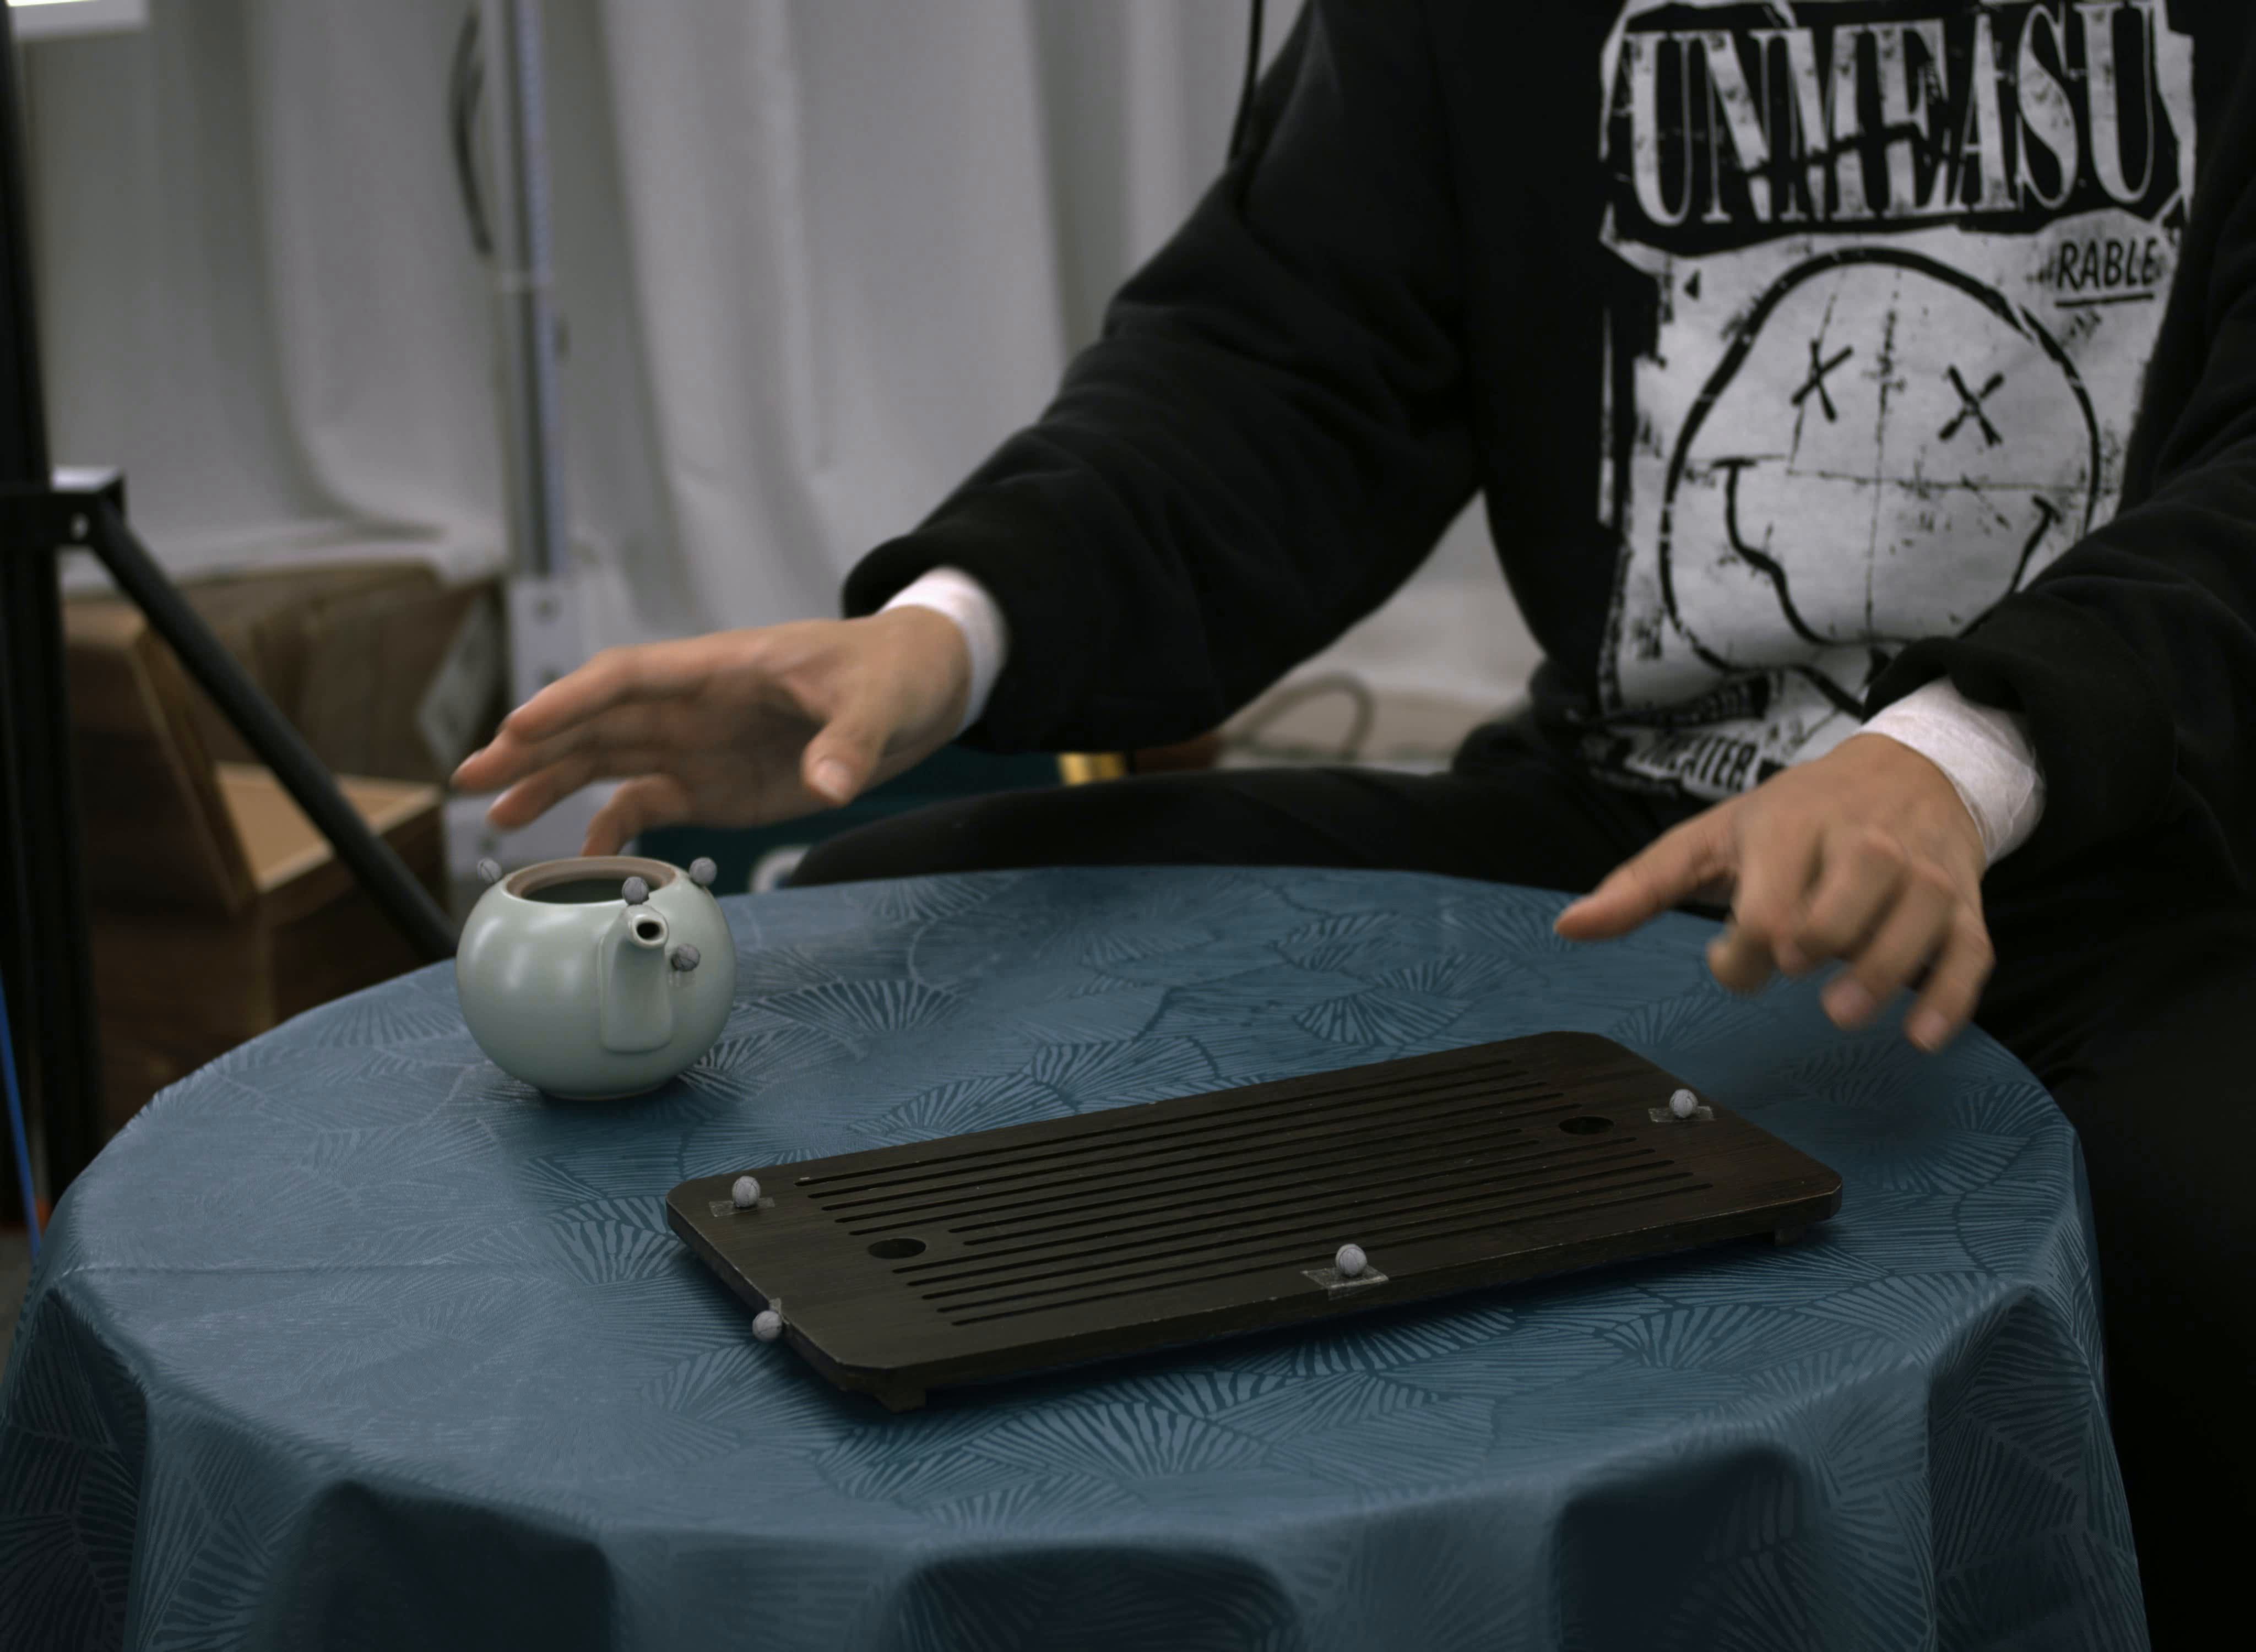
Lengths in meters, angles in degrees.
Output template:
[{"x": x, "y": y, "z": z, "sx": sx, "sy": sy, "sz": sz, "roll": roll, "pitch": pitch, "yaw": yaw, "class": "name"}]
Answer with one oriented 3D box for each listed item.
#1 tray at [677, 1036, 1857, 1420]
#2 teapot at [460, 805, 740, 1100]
[{"x": 0.039, "y": 0.111, "z": 1.503, "sx": 0.300, "sy": 0.018, "sz": 0.173, "roll": -8, "pitch": 16, "yaw": -20, "class": "tray"}, {"x": -0.165, "y": 0.045, "z": 1.672, "sx": 0.087, "sy": 0.075, "sz": 0.146, "roll": -7, "pitch": 18, "yaw": -17, "class": "teapot"}]
